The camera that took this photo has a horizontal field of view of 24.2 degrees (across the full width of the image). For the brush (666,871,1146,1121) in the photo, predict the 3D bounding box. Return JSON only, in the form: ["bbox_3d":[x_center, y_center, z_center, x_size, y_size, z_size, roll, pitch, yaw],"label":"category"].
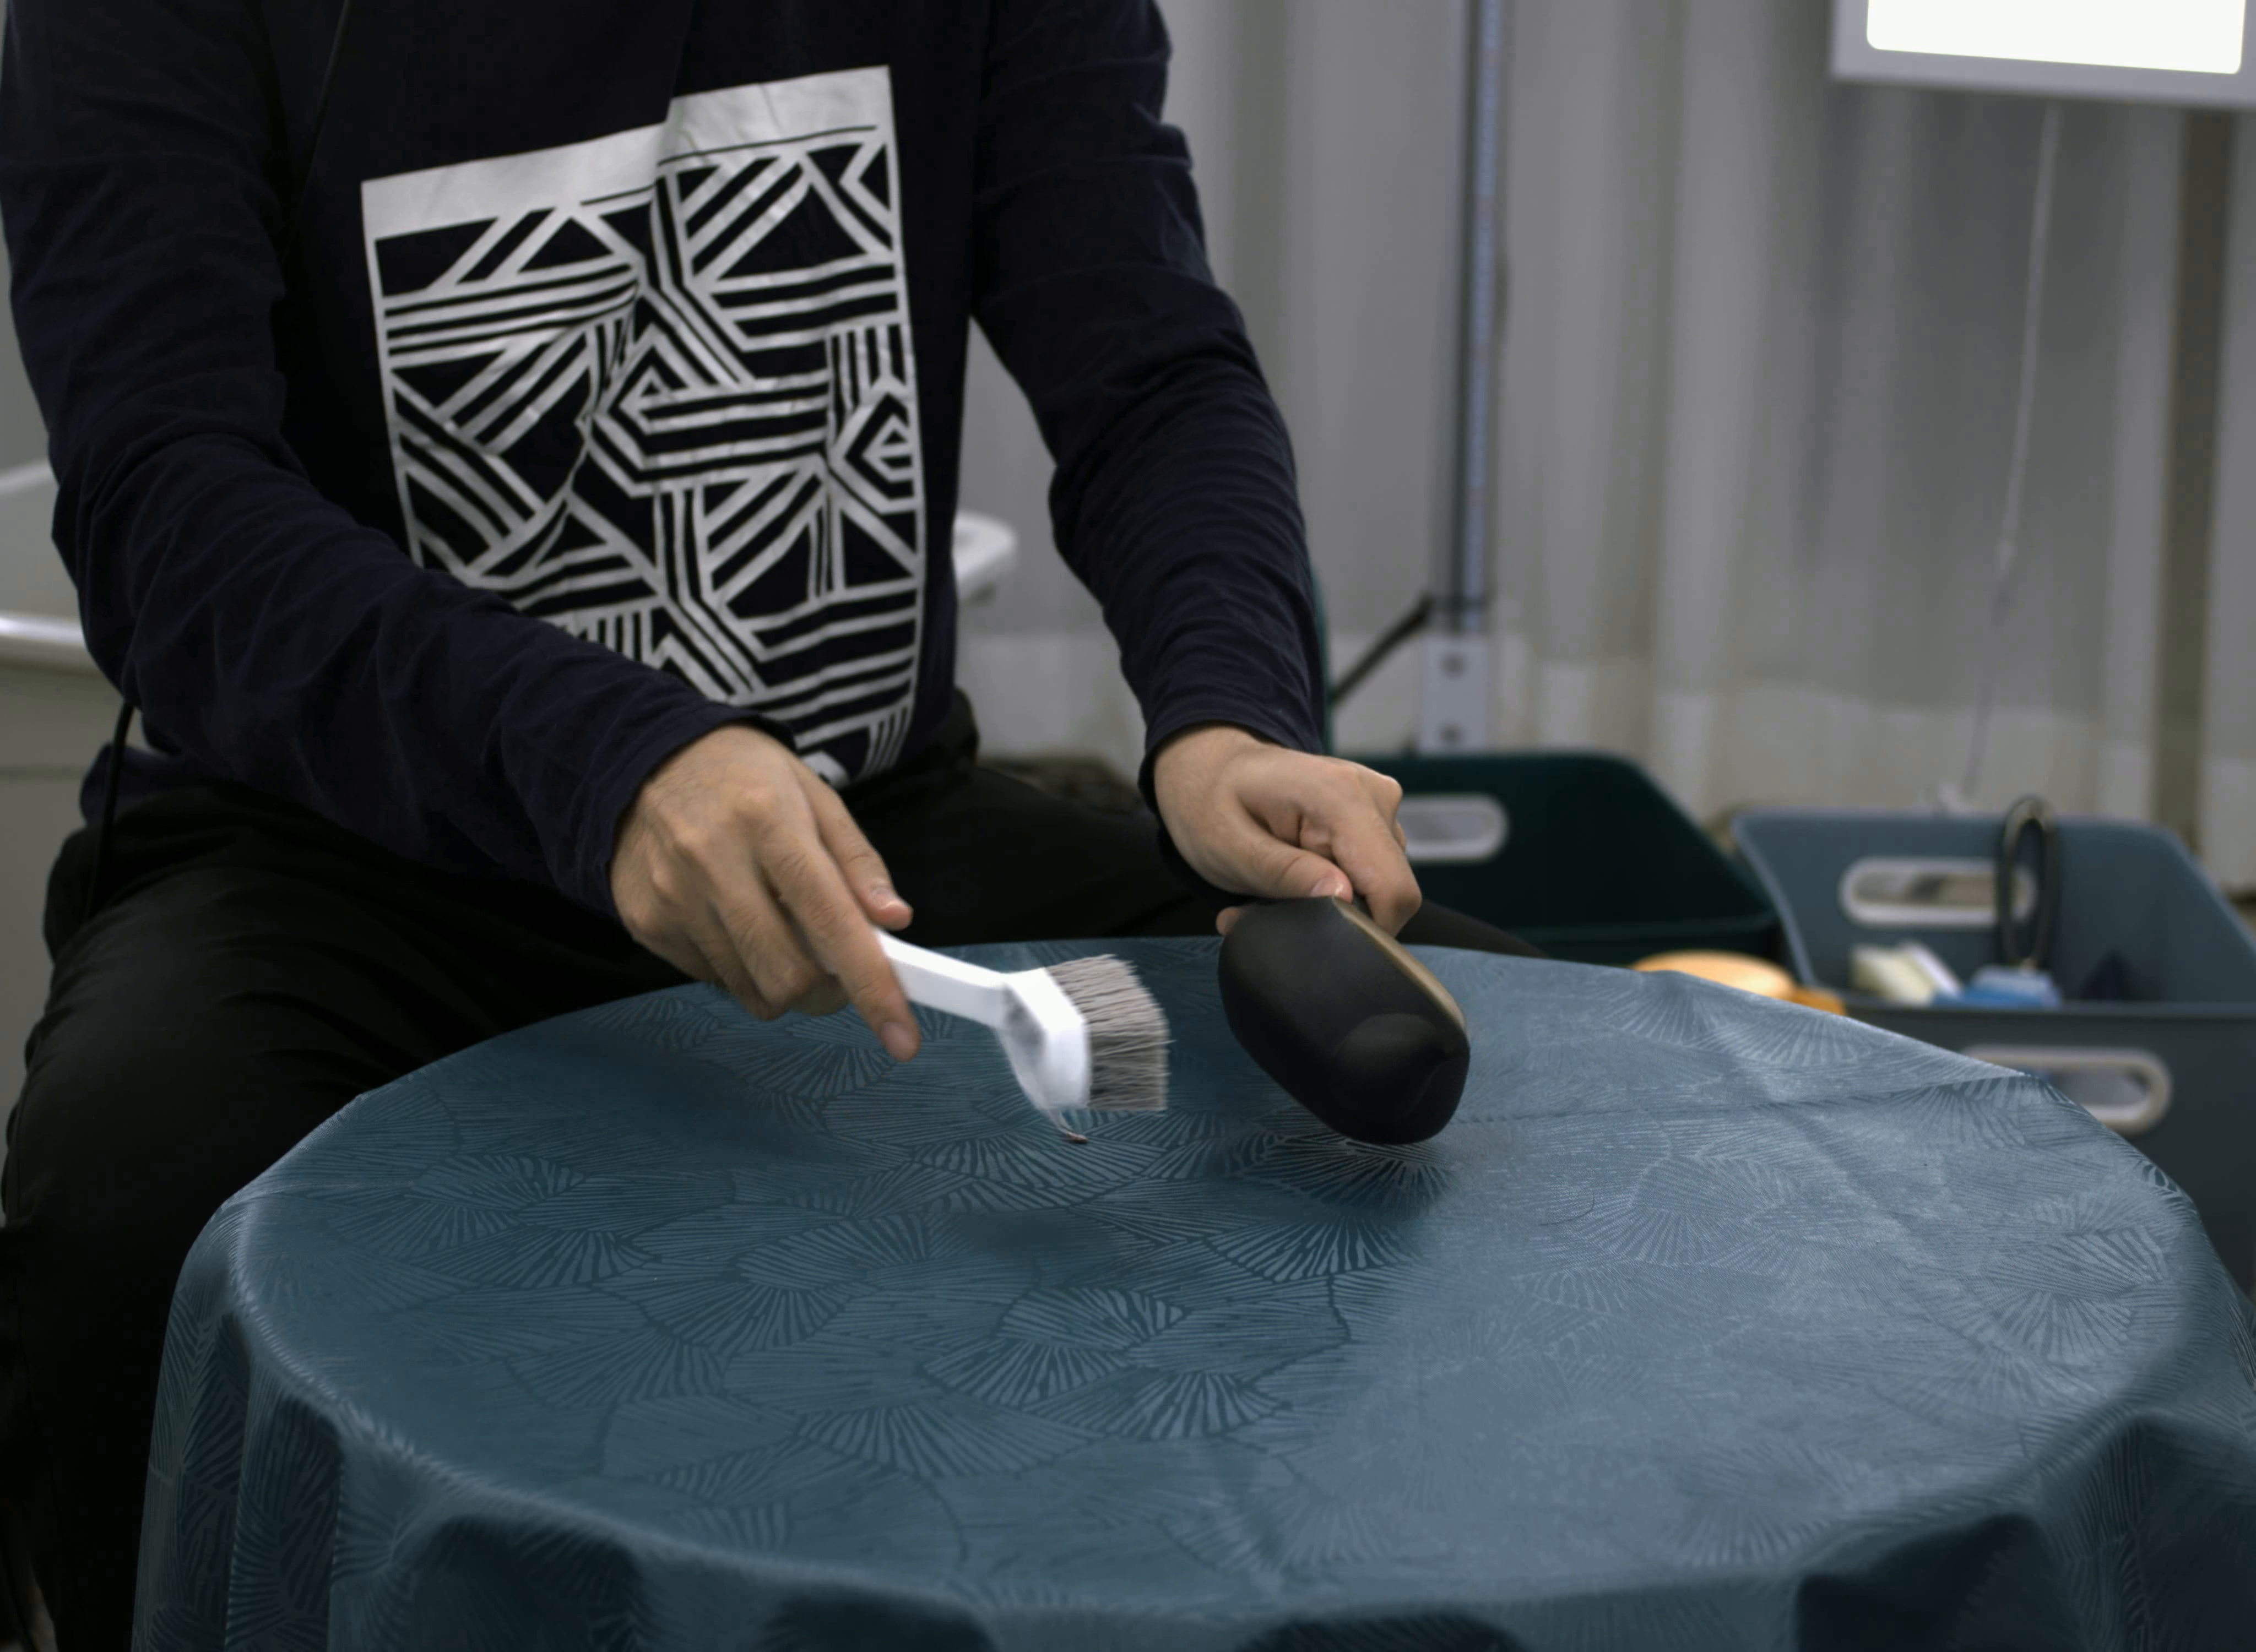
[{"bbox_3d":[-0.068,0.045,1.645,0.050,0.035,0.240,-16,21,-31],"label":"brush"}]

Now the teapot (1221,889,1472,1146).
[{"bbox_3d":[0.069,0.061,1.651,0.092,0.053,0.132,40,9,-25],"label":"teapot"}]
